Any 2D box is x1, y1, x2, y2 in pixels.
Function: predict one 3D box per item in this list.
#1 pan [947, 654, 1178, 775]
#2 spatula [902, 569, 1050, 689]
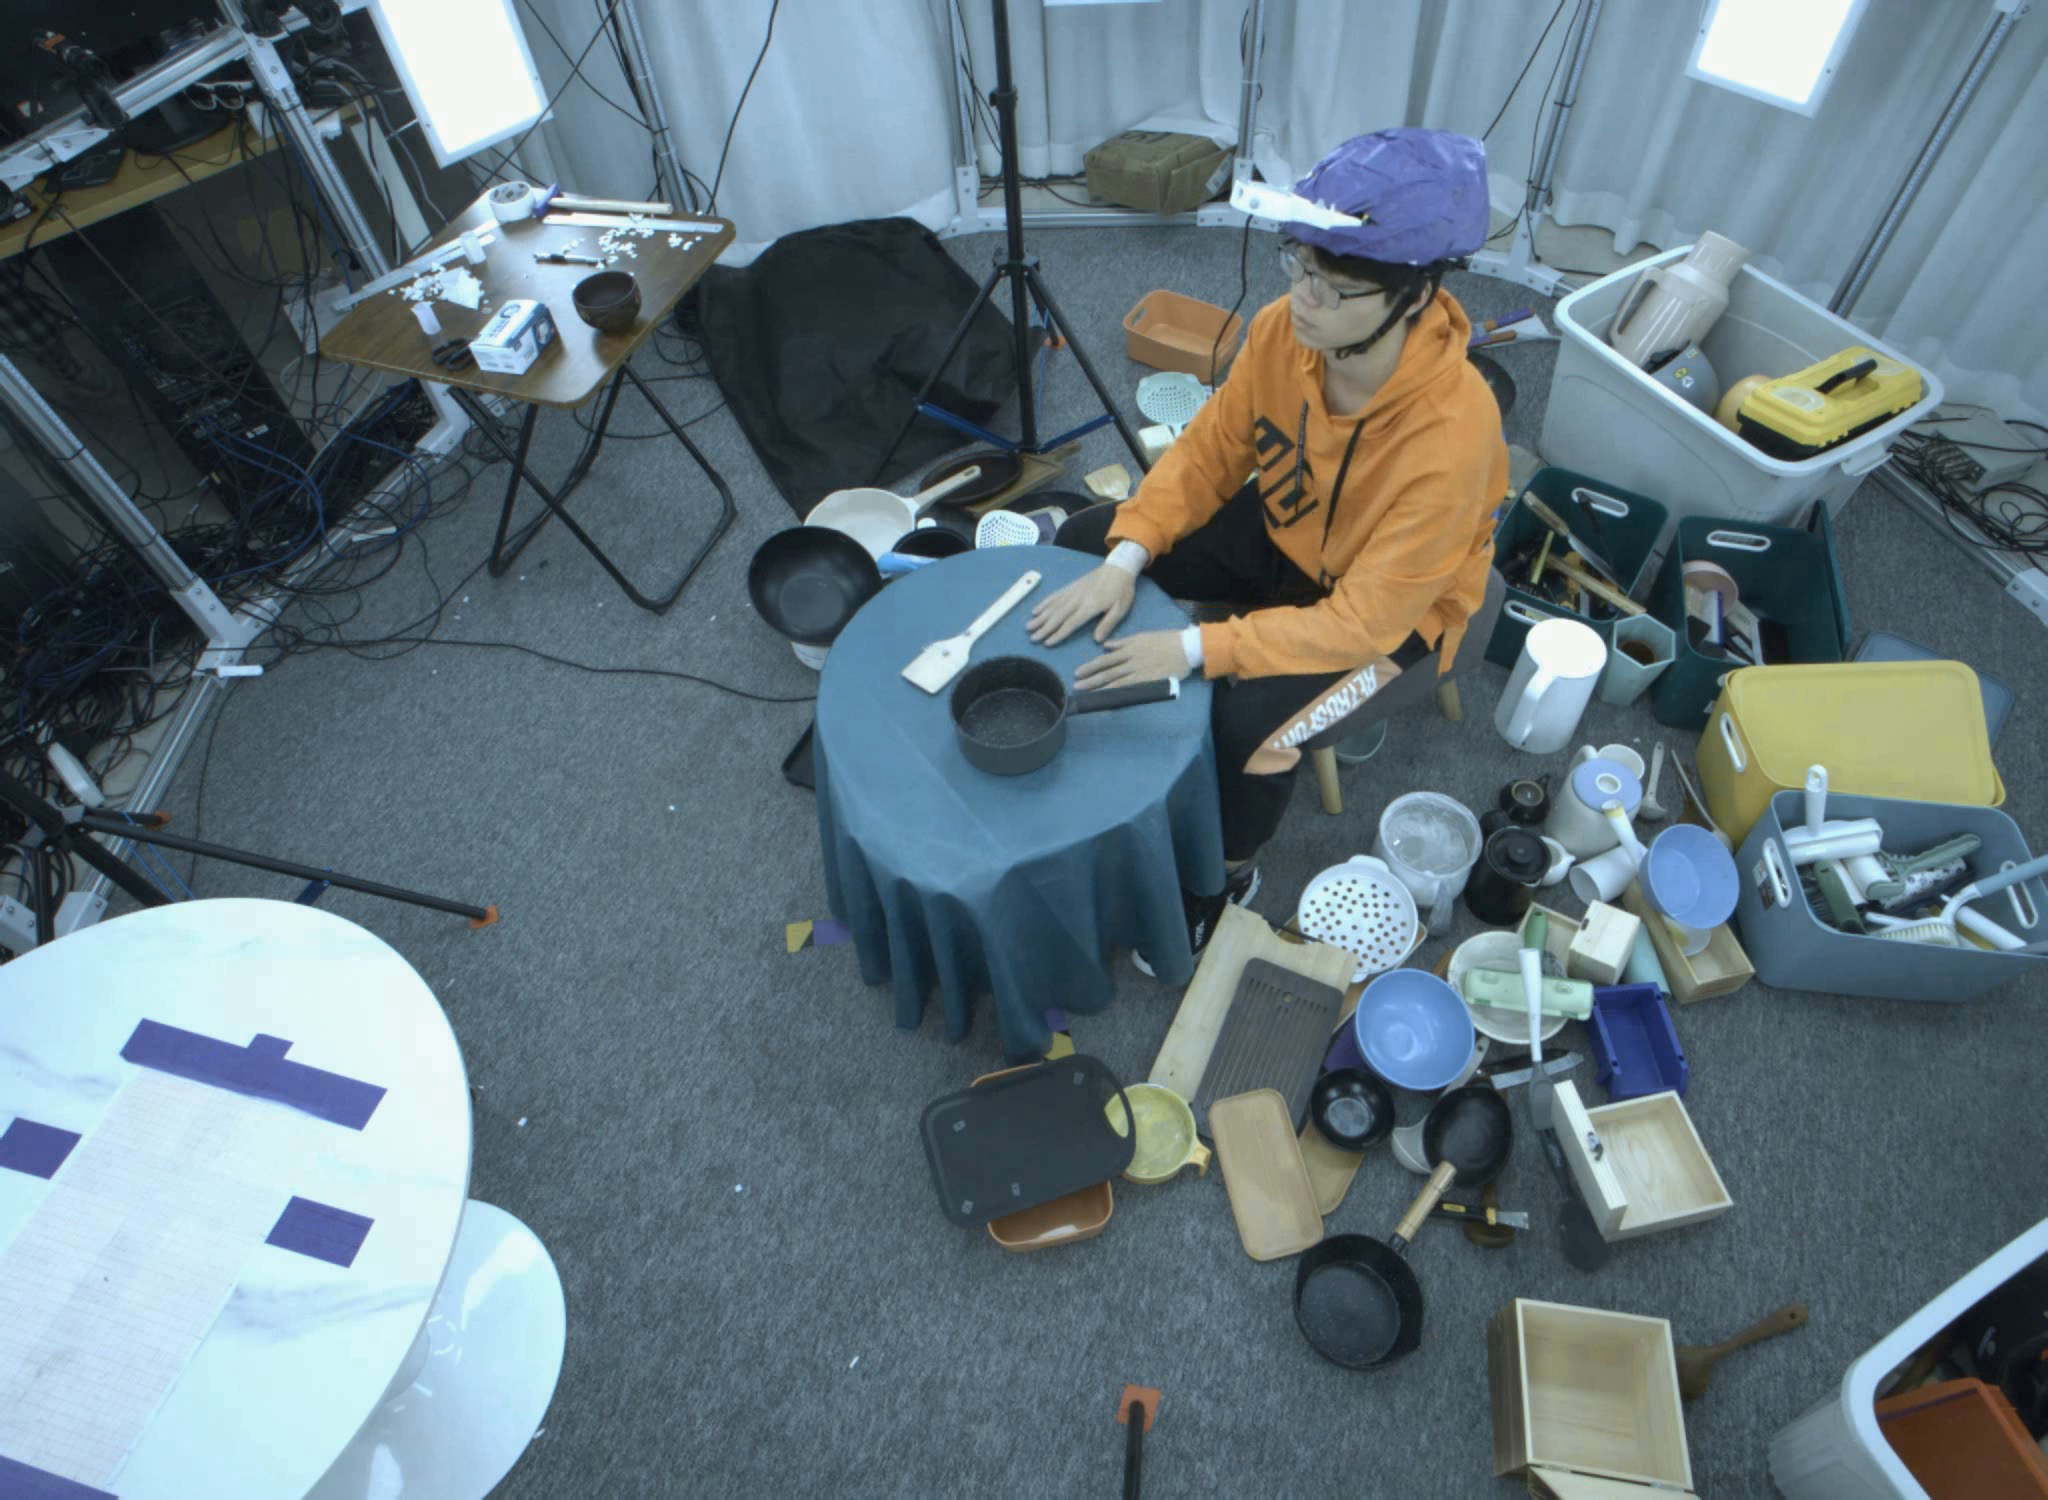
[{"bbox_3d":[0.058,-0.054,1.771,0.328,0.087,0.170,-2,55,3],"label":"pan"},{"bbox_3d":[-0.067,-0.199,1.929,0.071,0.011,0.295,36,65,28],"label":"spatula"}]
